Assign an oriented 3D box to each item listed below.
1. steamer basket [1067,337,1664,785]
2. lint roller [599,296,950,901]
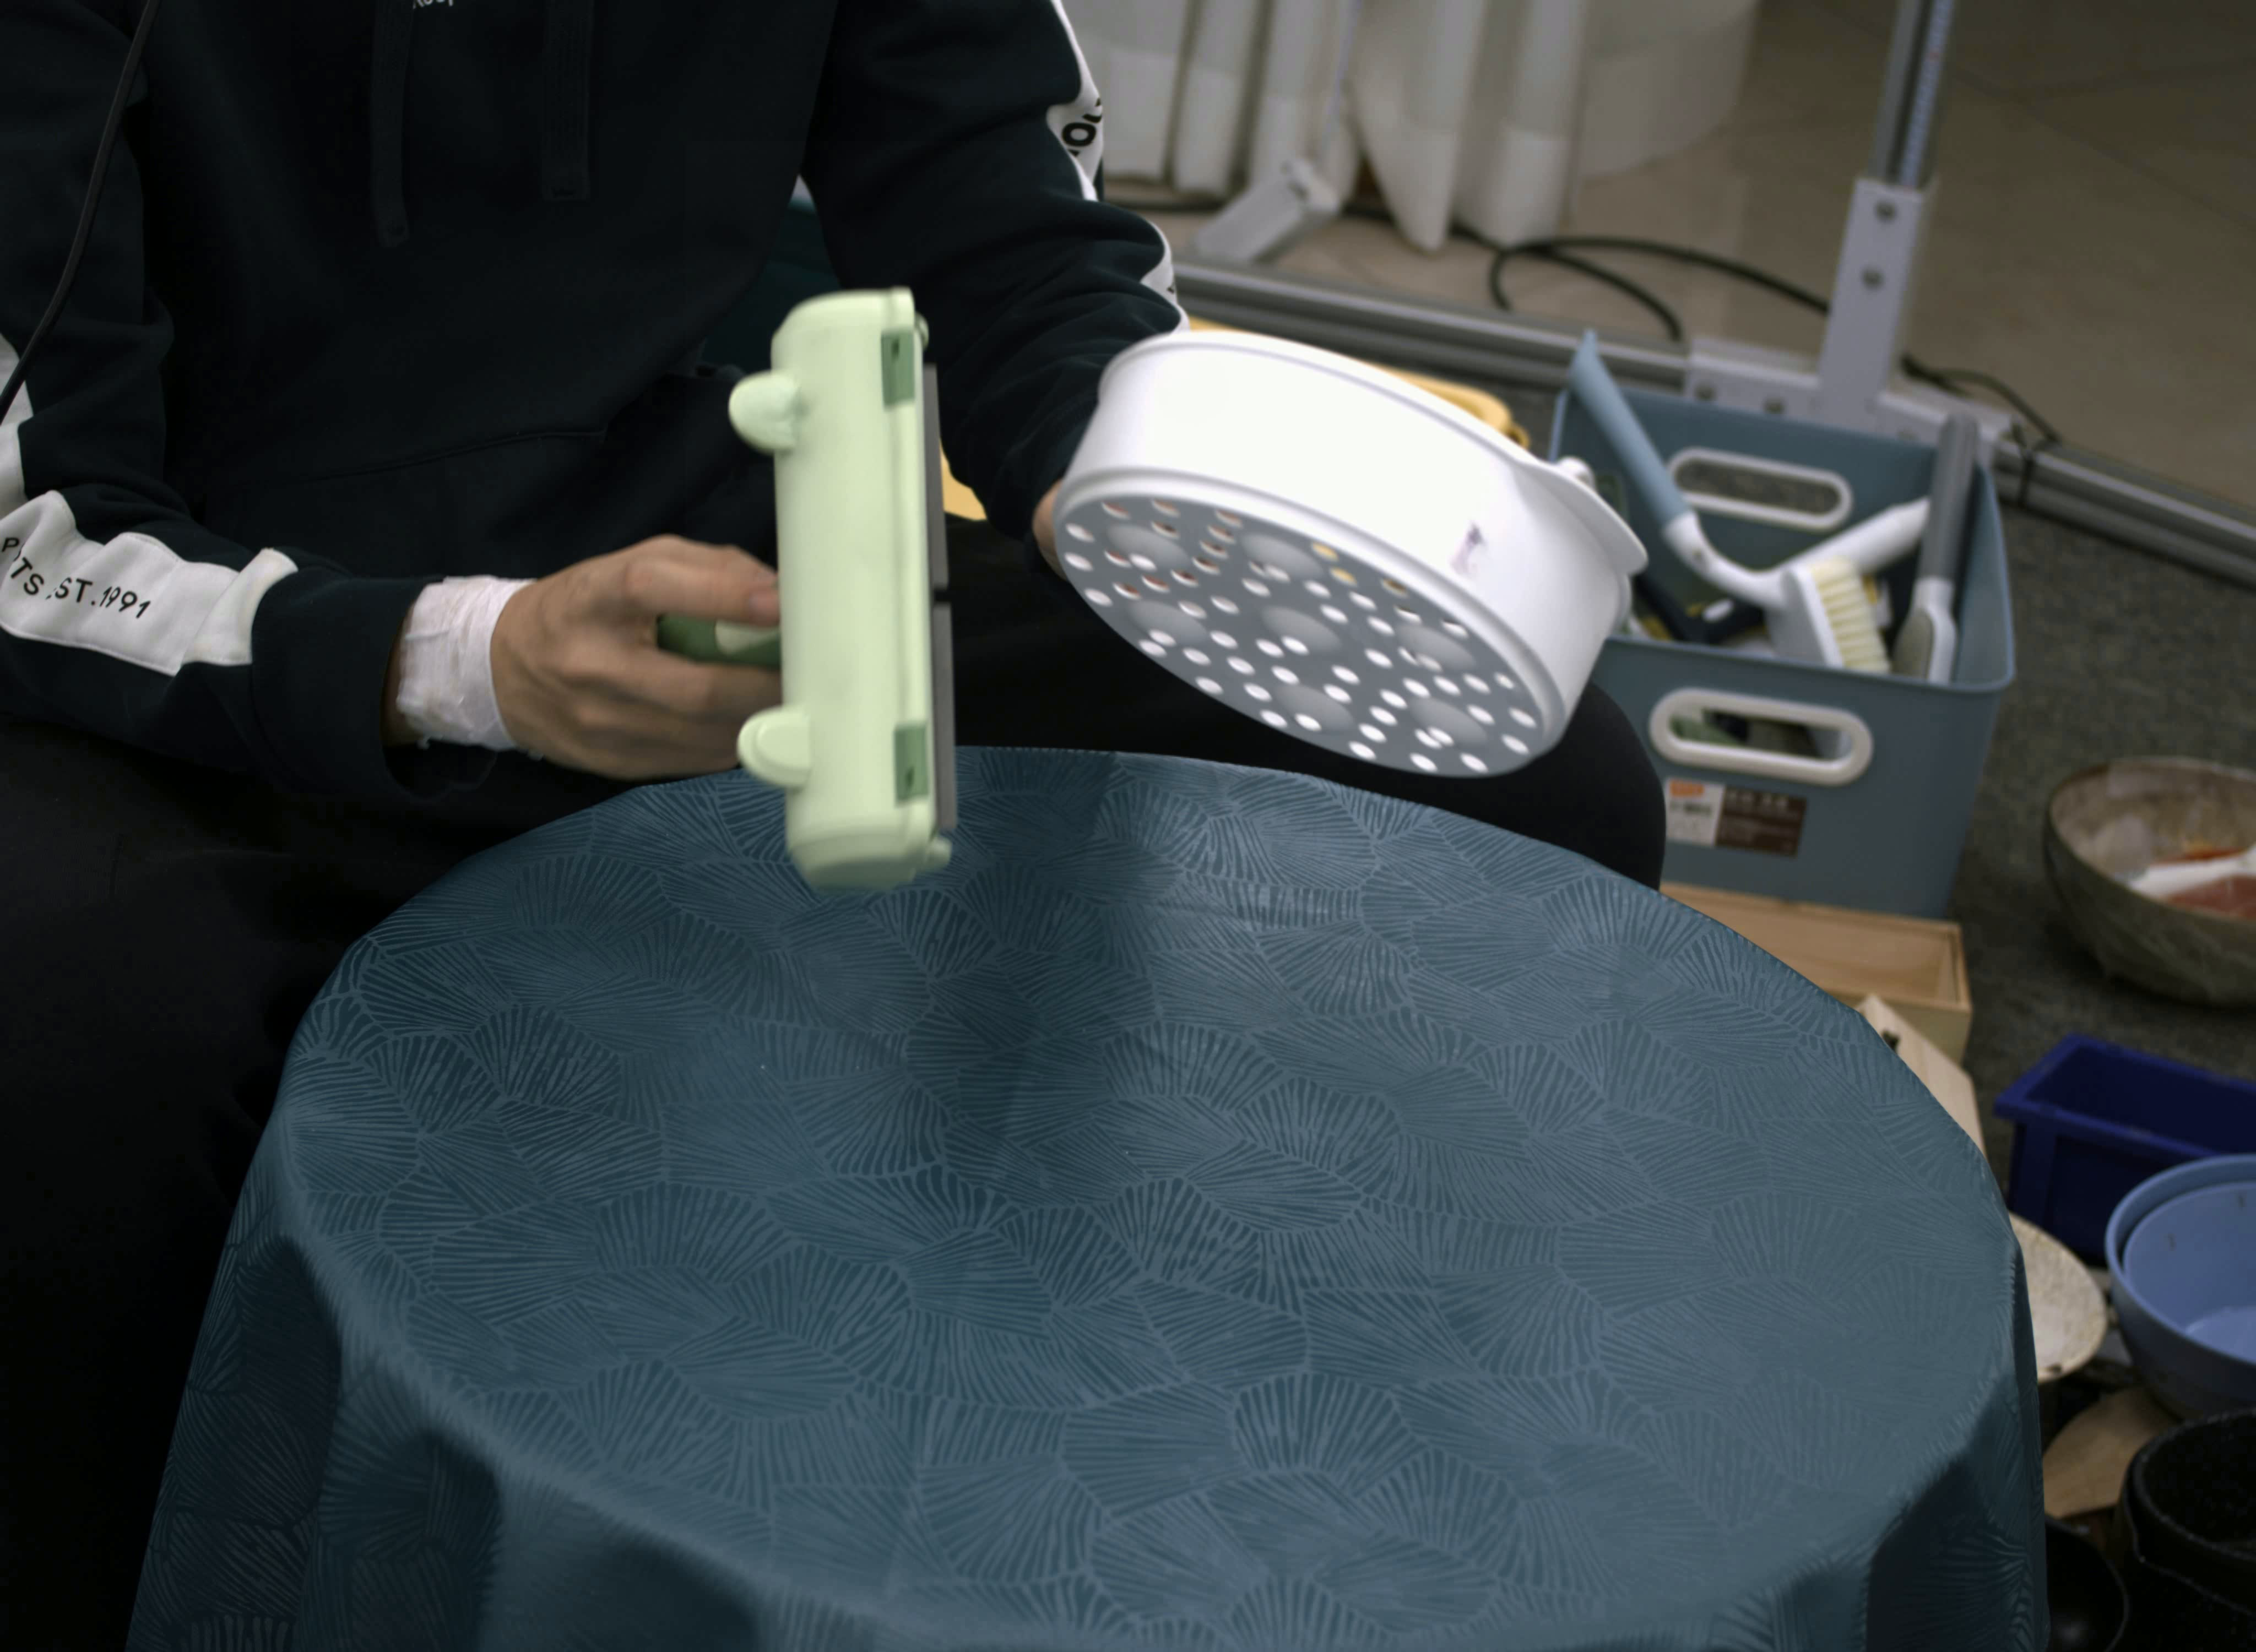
[{"bbox_3d":[0.075,-0.087,1.840,0.232,0.069,0.200,9,-24,44],"label":"steamer basket"},{"bbox_3d":[-0.136,-0.066,1.798,0.184,0.200,0.081,-14,-18,40],"label":"lint roller"}]
